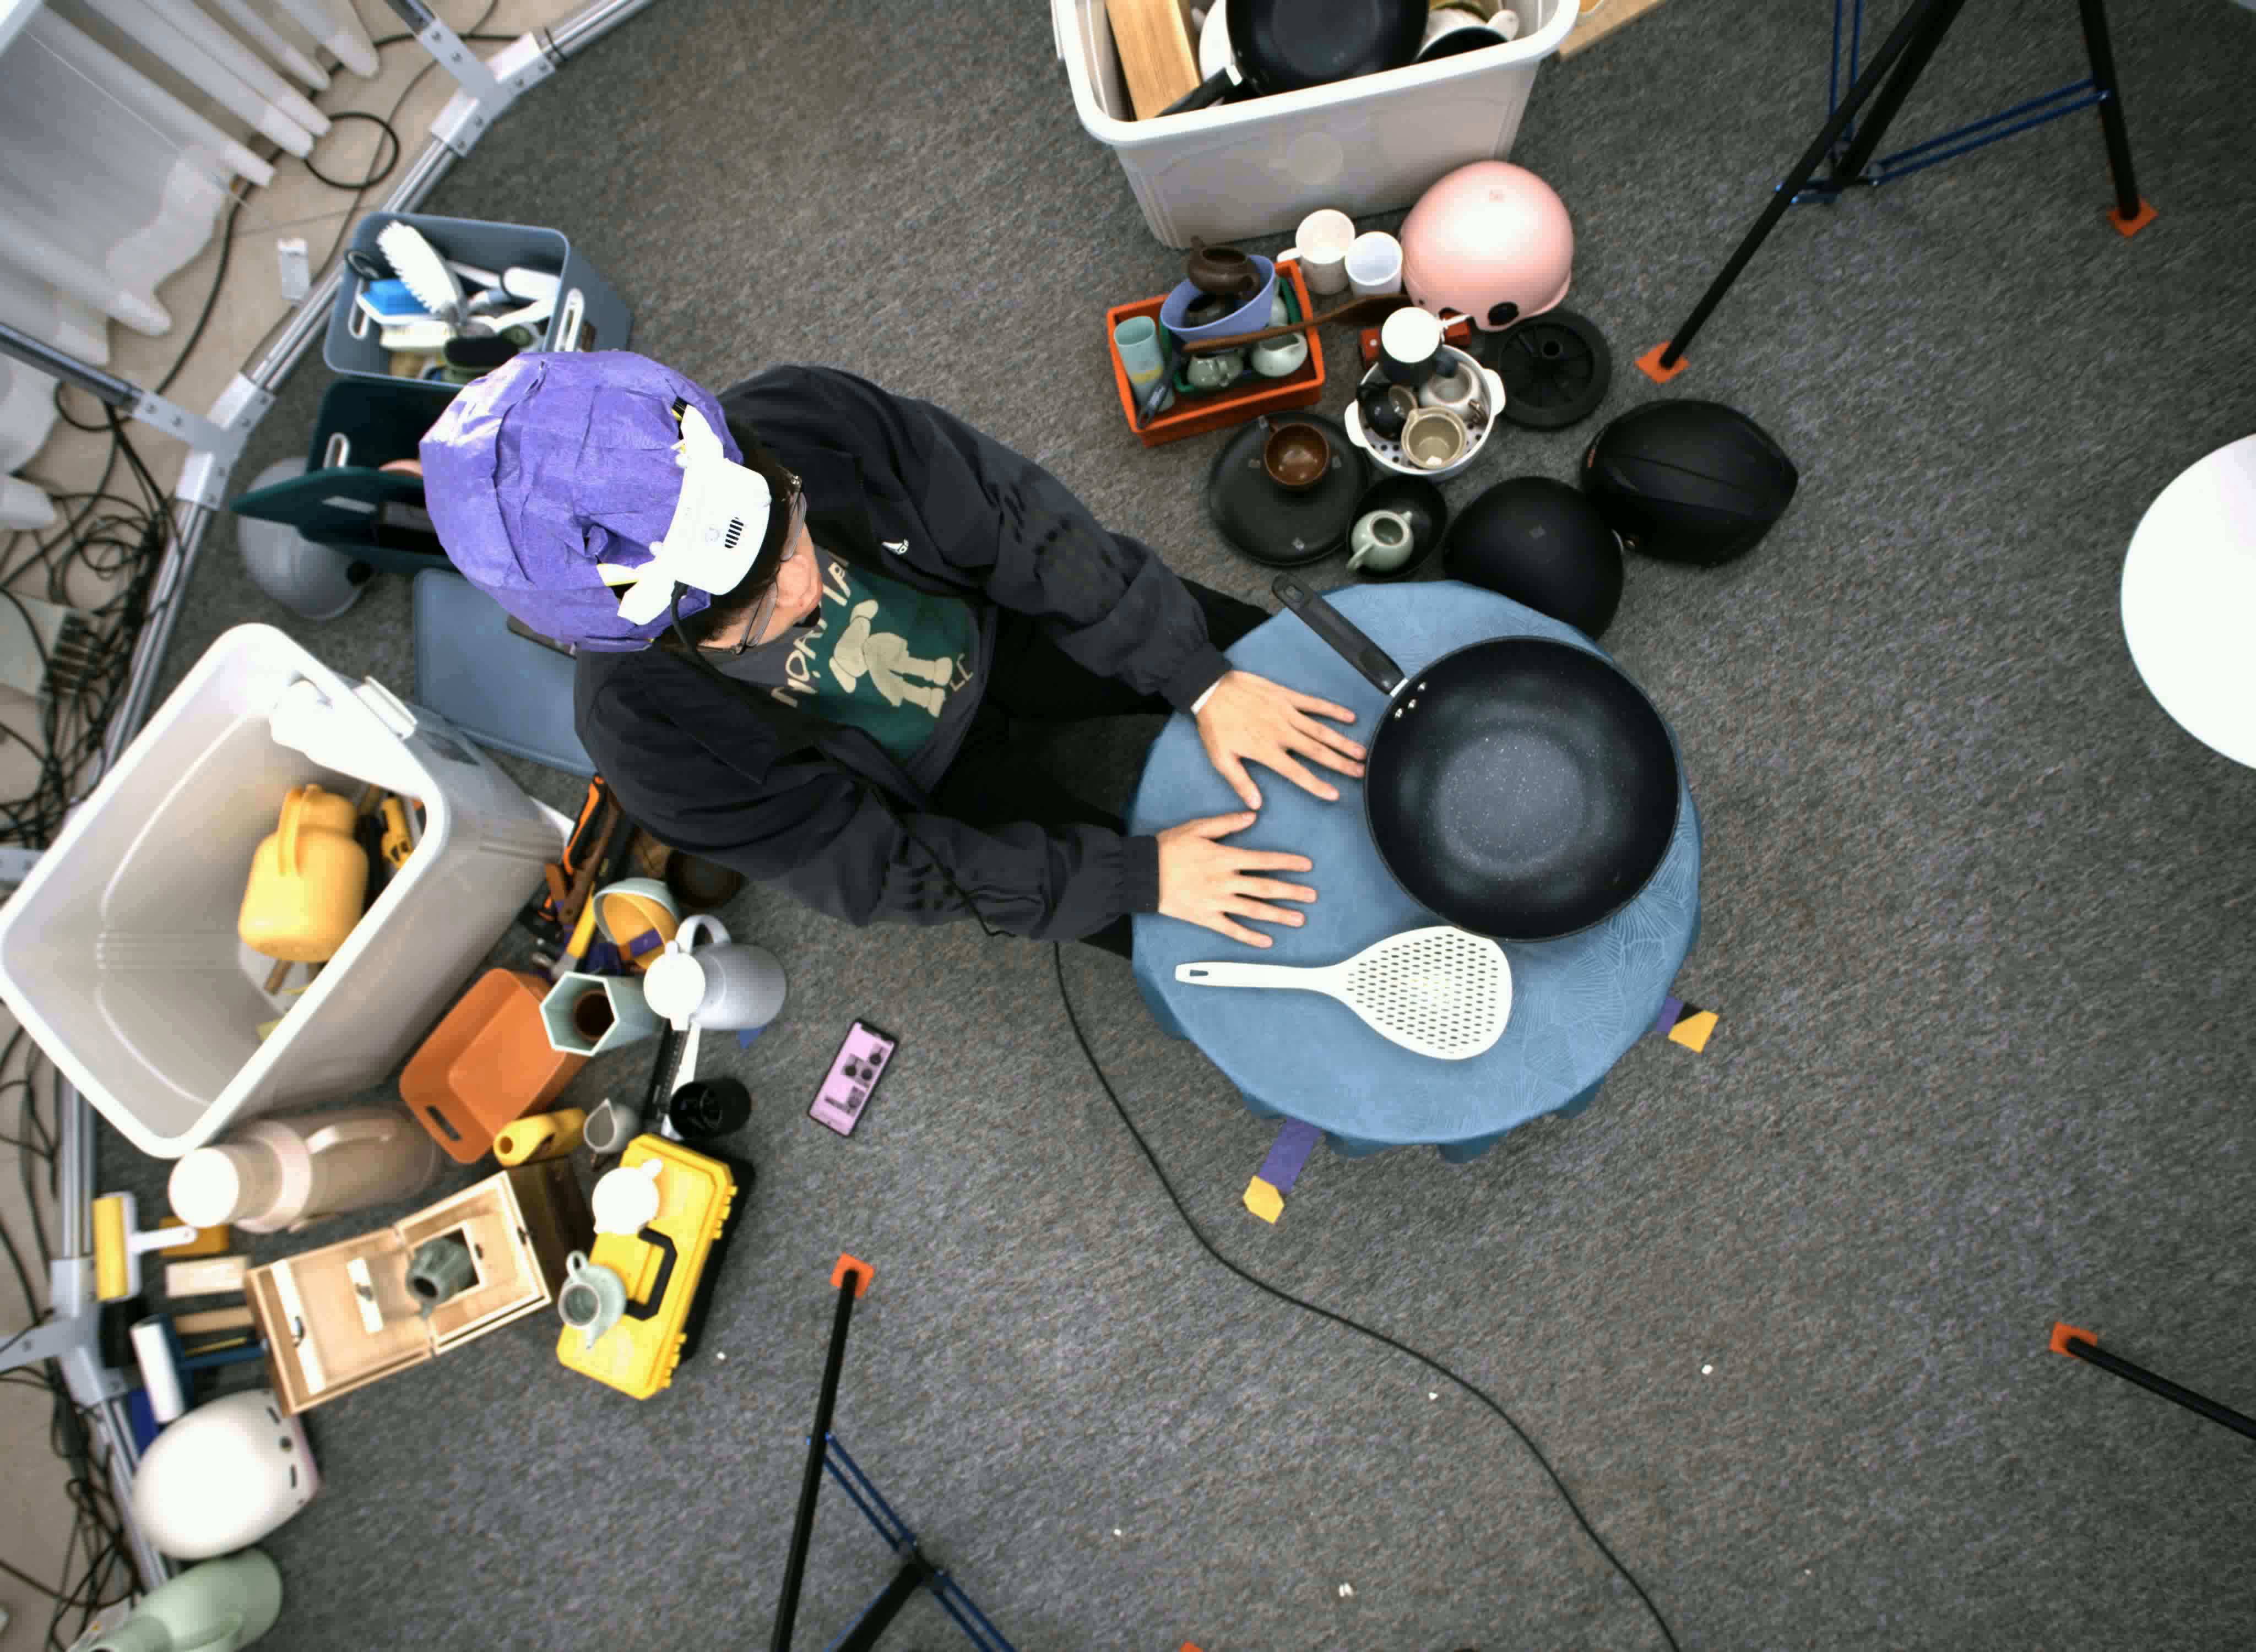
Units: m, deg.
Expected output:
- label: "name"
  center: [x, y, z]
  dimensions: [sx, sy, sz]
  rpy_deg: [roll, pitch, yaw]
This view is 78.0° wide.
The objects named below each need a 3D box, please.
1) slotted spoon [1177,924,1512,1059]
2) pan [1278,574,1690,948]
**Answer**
- label: "slotted spoon"
  center: [0.220, 0.161, 1.442]
  dimensions: [0.349, 0.050, 0.136]
  rpy_deg: [4, 89, 11]
- label: "pan"
  center: [0.340, -0.088, 1.400]
  dimensions: [0.475, 0.112, 0.311]
  rpy_deg: [42, 93, 10]
